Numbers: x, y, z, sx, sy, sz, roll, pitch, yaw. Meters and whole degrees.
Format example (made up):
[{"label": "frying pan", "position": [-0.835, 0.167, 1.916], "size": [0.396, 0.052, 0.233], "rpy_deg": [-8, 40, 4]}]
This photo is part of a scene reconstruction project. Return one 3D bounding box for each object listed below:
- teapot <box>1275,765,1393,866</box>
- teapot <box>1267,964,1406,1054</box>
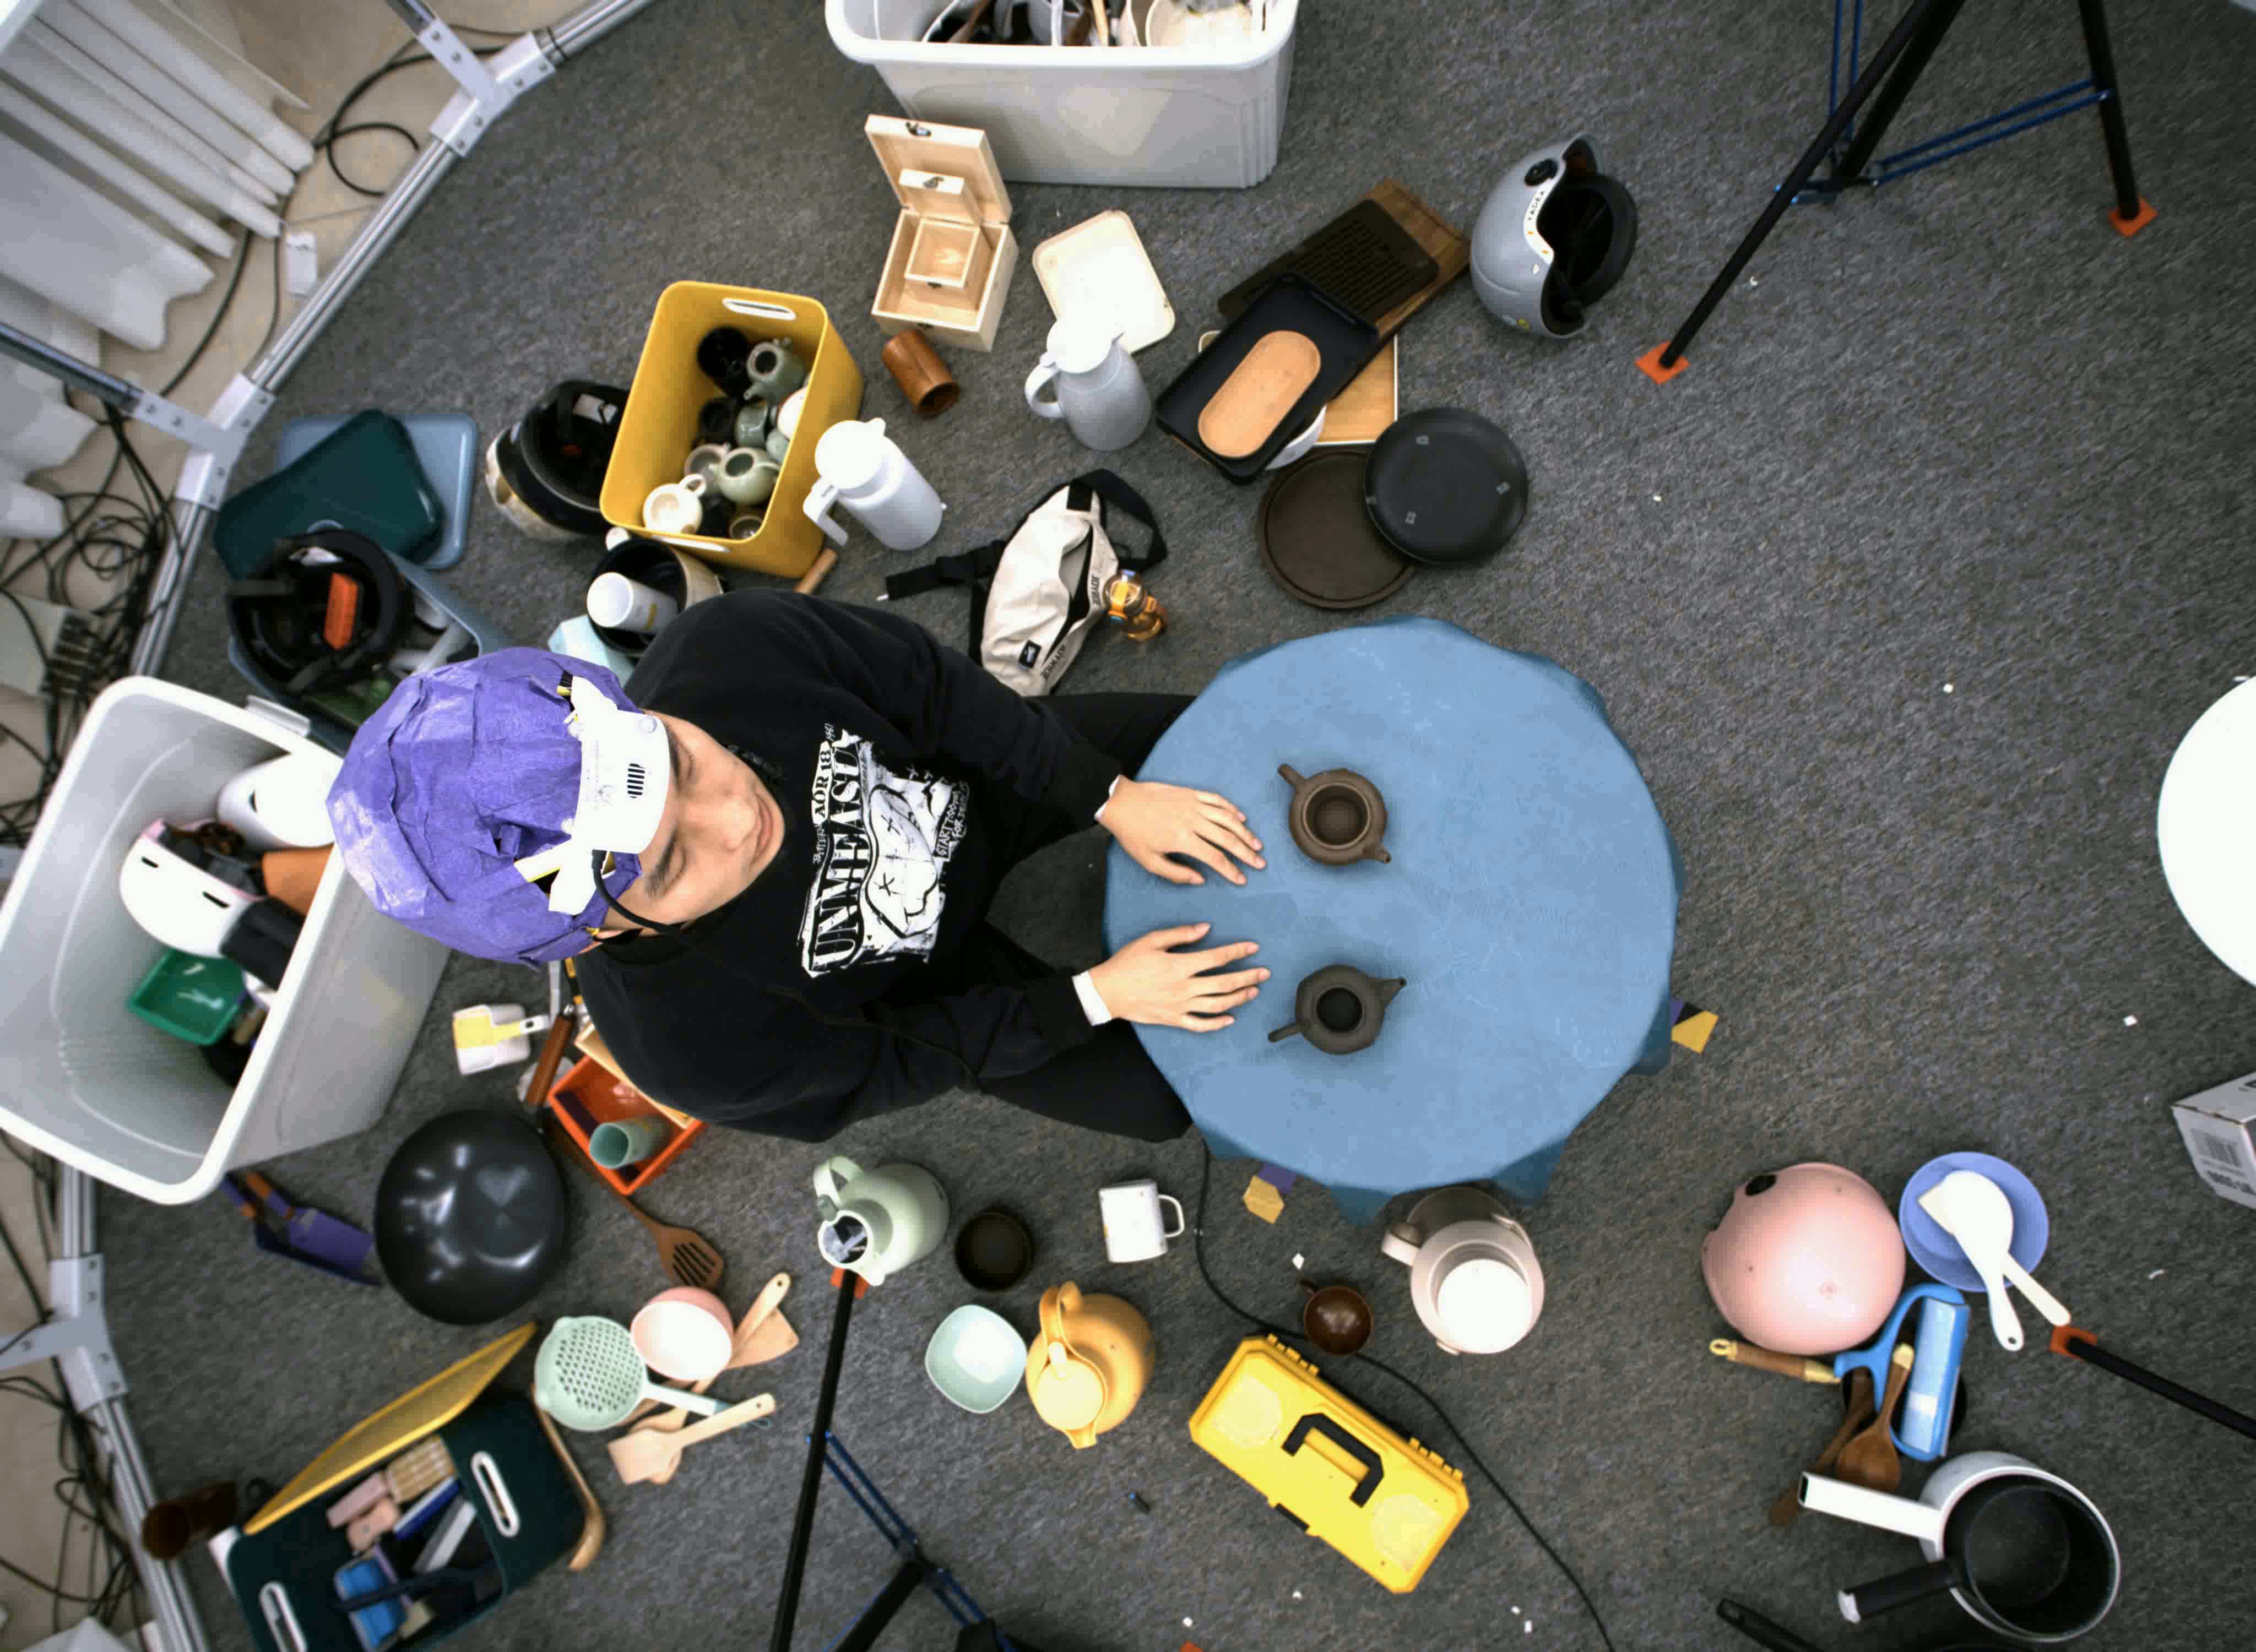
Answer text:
[{"label": "teapot", "position": [0.216, -0.013, 1.448], "size": [0.153, 0.054, 0.103], "rpy_deg": [37, 92, 10]}, {"label": "teapot", "position": [0.216, 0.190, 1.434], "size": [0.155, 0.064, 0.091], "rpy_deg": [-24, 80, 8]}]
